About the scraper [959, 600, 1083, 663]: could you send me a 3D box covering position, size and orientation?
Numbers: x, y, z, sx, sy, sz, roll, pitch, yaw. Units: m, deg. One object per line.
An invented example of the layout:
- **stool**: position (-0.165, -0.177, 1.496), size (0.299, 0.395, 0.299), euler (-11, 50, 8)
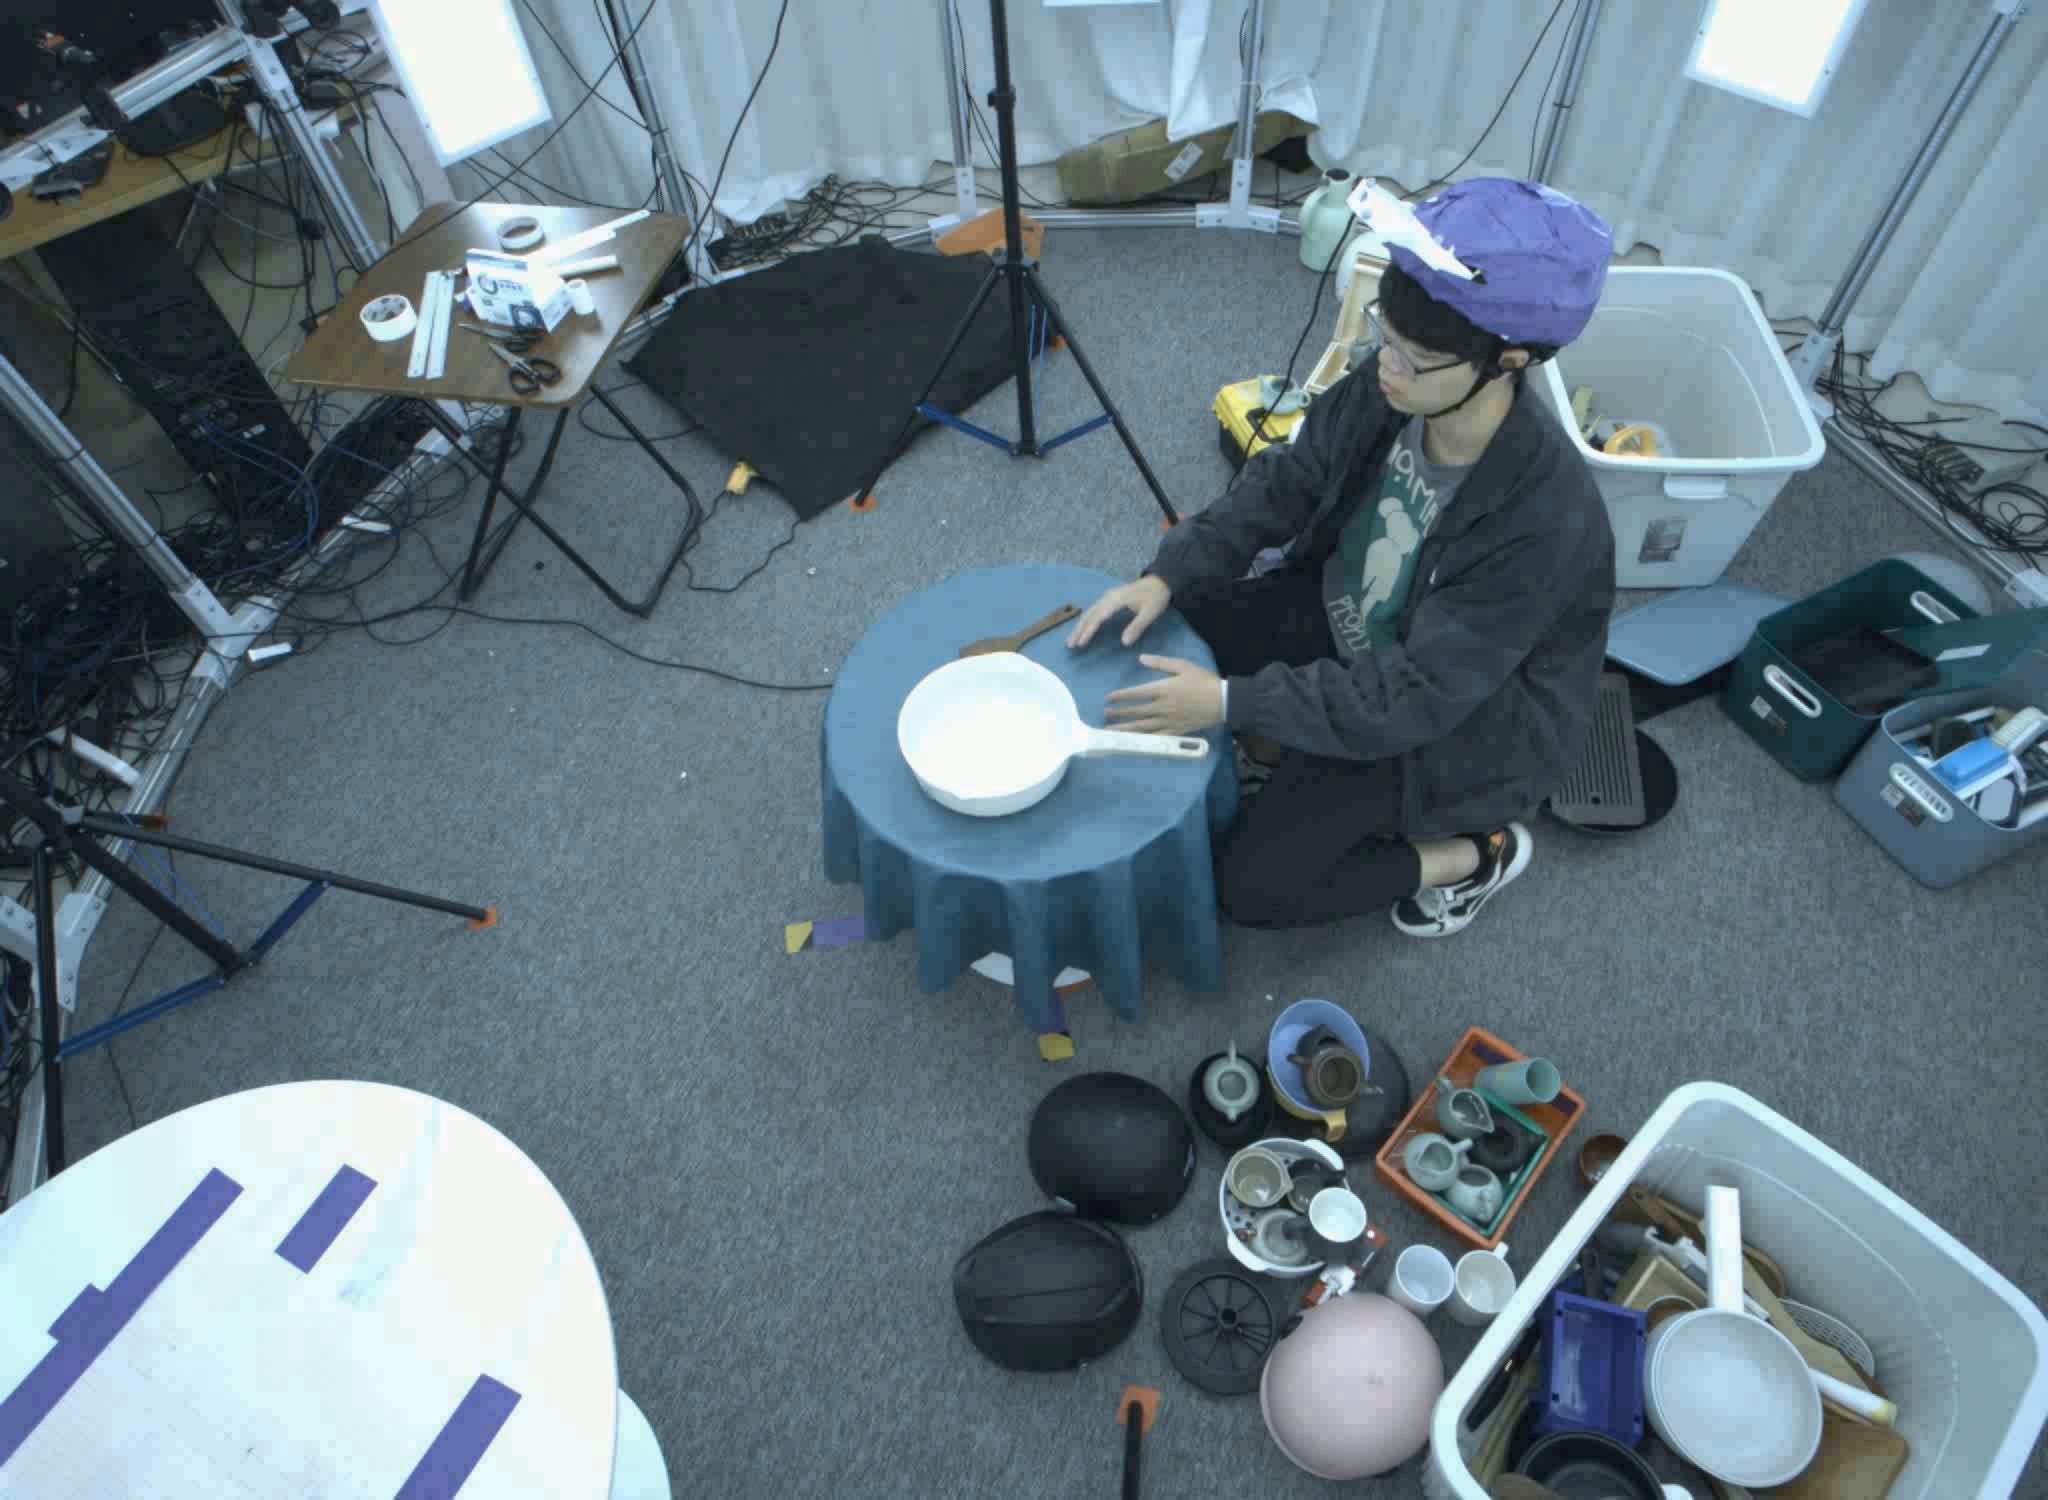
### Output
- **scraper**: position (0.001, -0.179, 1.902), size (0.213, 0.011, 0.074), euler (-31, 60, -19)

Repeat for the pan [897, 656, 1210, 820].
- **pan**: position (0.039, -0.001, 1.718), size (0.432, 0.103, 0.262), euler (9, 54, 8)
